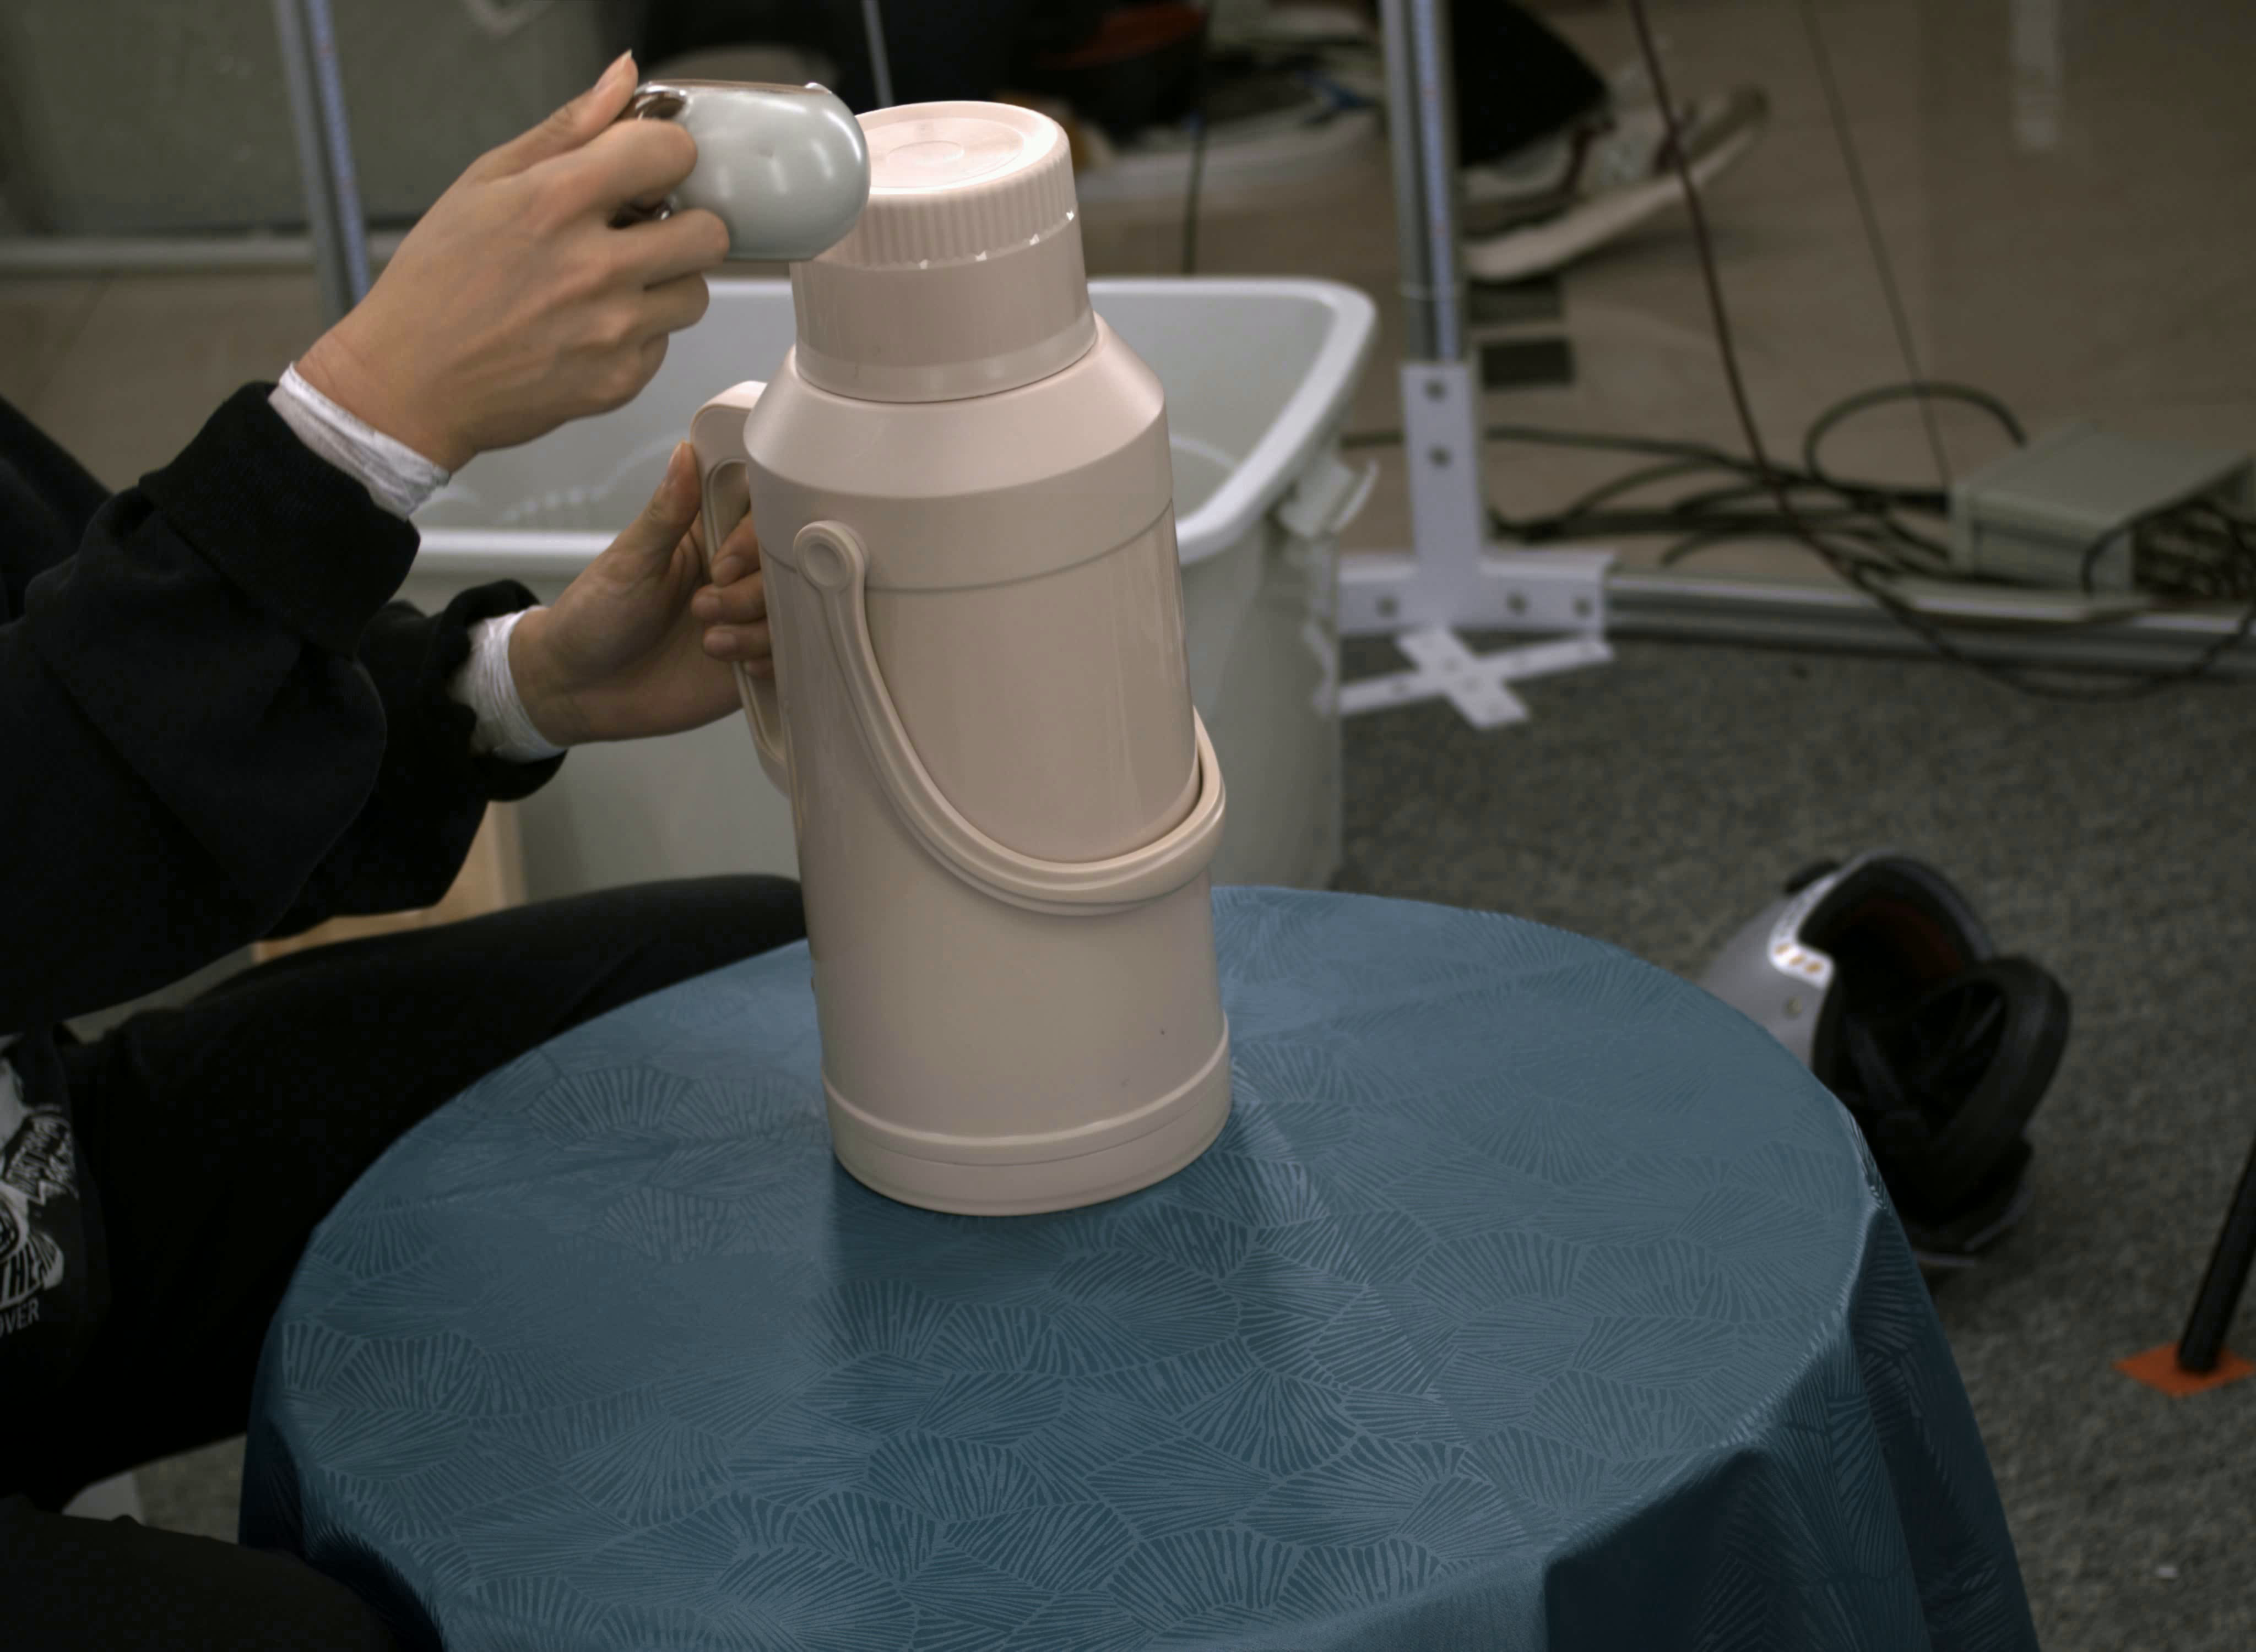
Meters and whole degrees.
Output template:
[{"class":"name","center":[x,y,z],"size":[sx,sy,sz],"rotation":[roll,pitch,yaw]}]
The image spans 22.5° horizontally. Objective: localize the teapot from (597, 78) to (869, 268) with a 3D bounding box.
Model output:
[{"class":"teapot","center":[-0.137,-0.219,1.890],"size":[0.091,0.060,0.127],"rotation":[13,14,27]}]

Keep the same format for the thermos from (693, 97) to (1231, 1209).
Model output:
[{"class":"thermos","center":[-0.066,-0.068,2.128],"size":[0.206,0.413,0.173],"rotation":[12,34,30]}]
